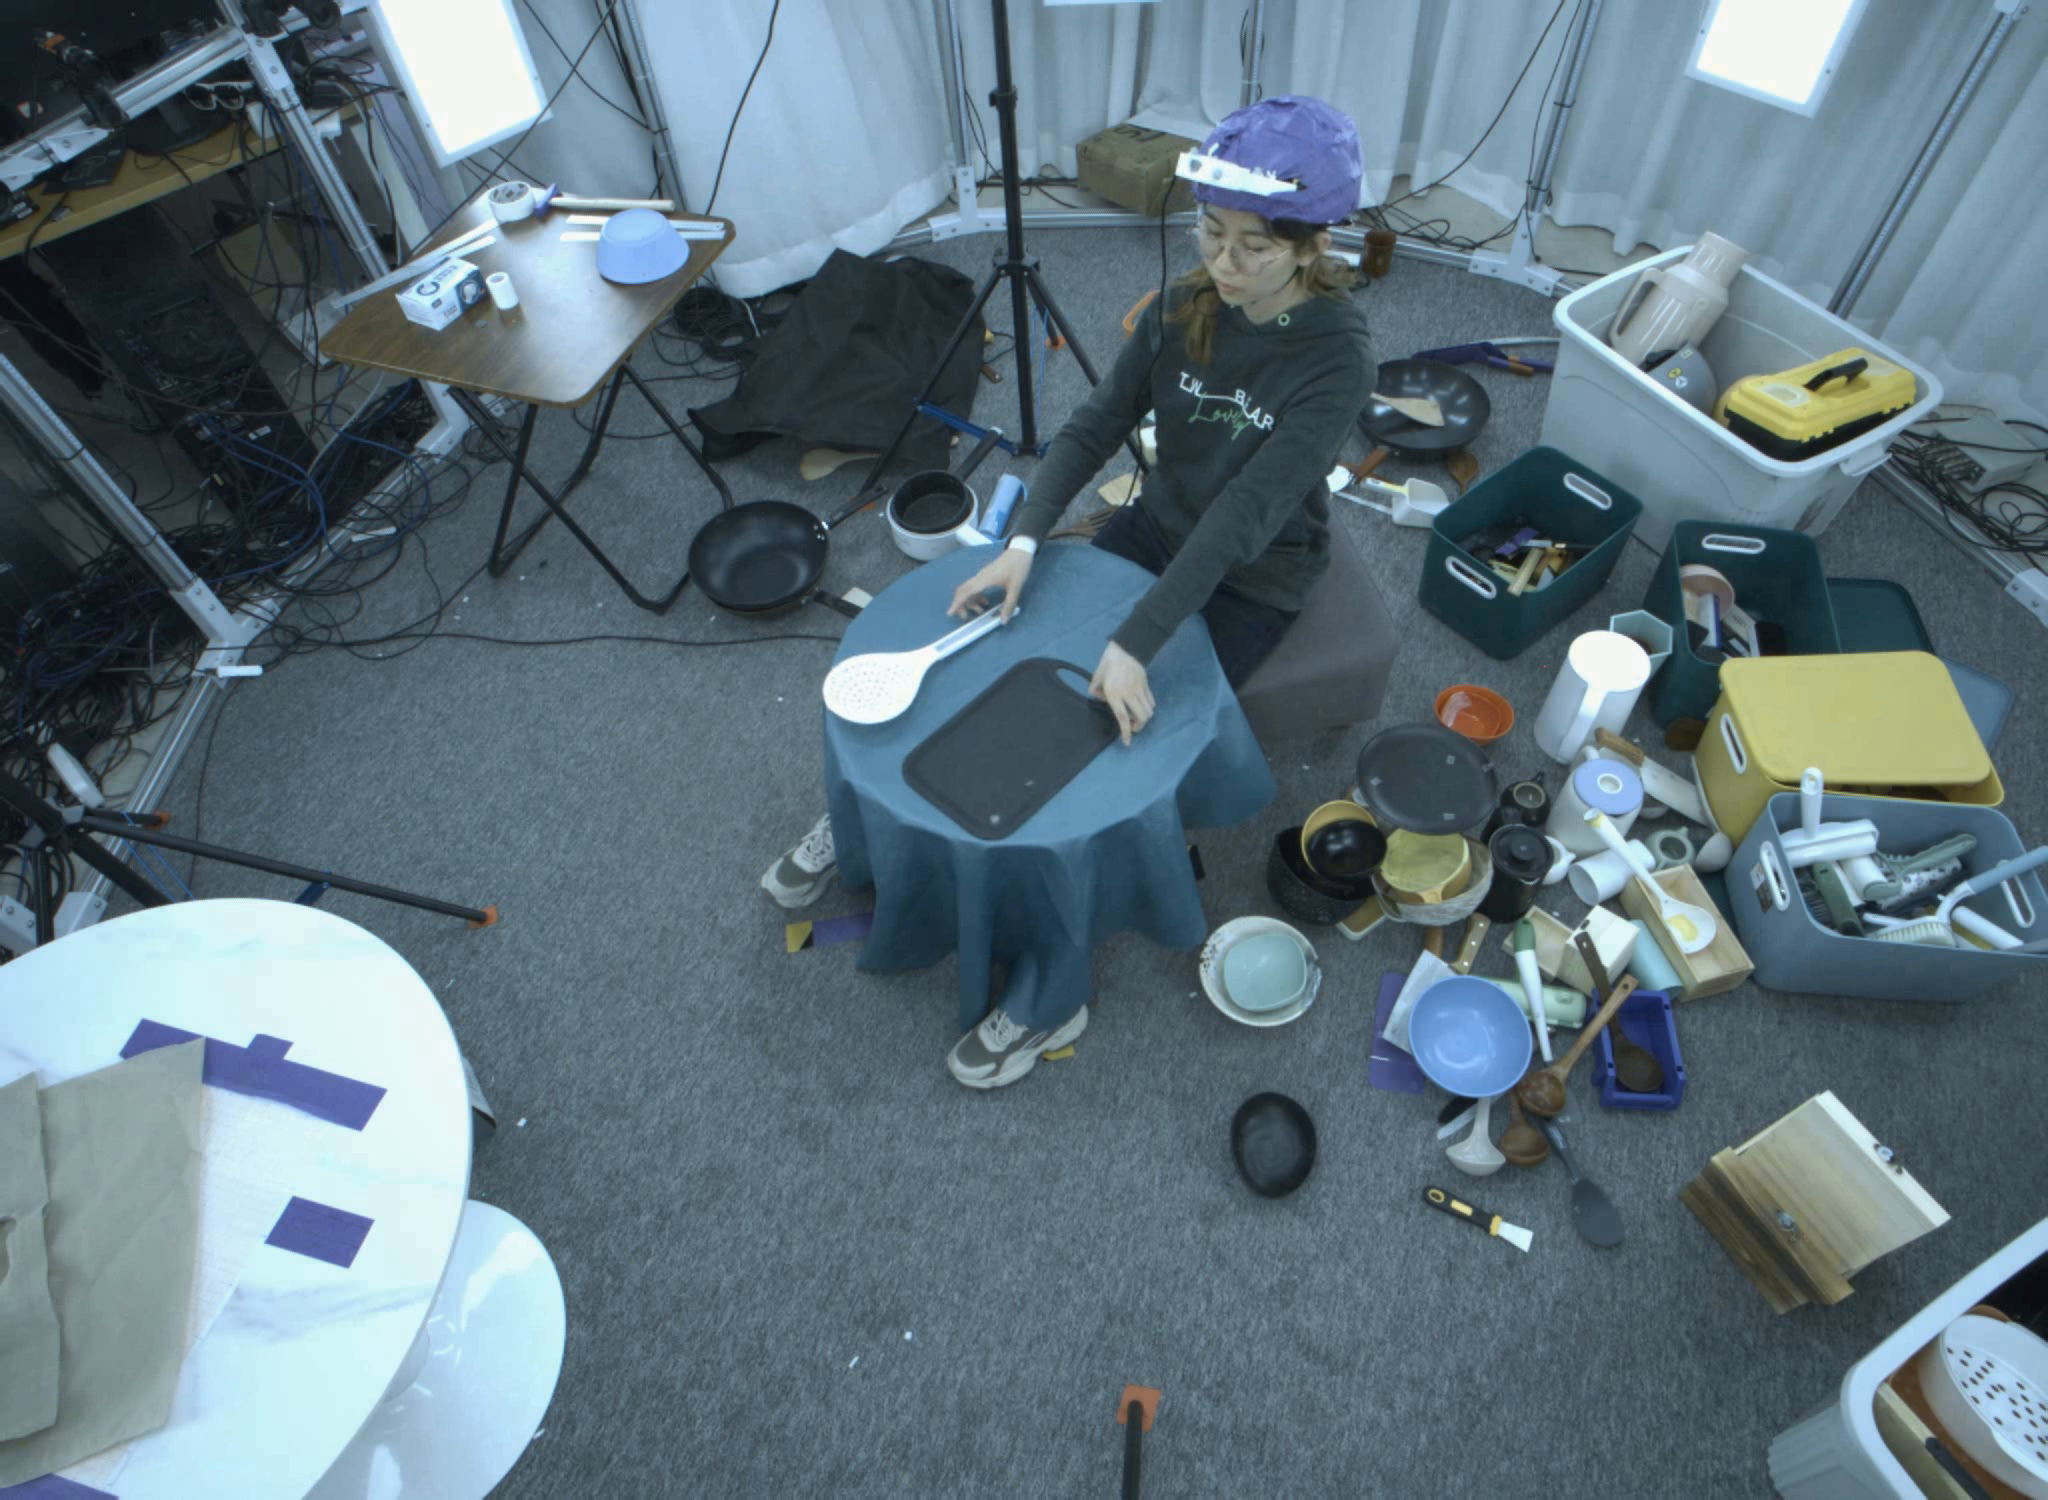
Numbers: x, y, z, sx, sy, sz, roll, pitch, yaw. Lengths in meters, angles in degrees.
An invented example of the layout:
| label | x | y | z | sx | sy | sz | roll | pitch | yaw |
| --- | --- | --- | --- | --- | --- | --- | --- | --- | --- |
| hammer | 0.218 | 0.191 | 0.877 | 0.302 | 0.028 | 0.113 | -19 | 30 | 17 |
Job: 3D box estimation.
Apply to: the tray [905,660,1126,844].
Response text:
| label | x | y | z | sx | sy | sz | roll | pitch | yaw |
| --- | --- | --- | --- | --- | --- | --- | --- | --- | --- |
| tray | -0.006 | -0.010 | 1.801 | 0.207 | 0.010 | 0.327 | 37 | 63 | 24 |

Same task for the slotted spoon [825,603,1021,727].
| label | x | y | z | sx | sy | sz | roll | pitch | yaw |
| --- | --- | --- | --- | --- | --- | --- | --- | --- | --- |
| slotted spoon | -0.145 | -0.138 | 1.871 | 0.352 | 0.046 | 0.133 | -36 | 63 | -22 |
